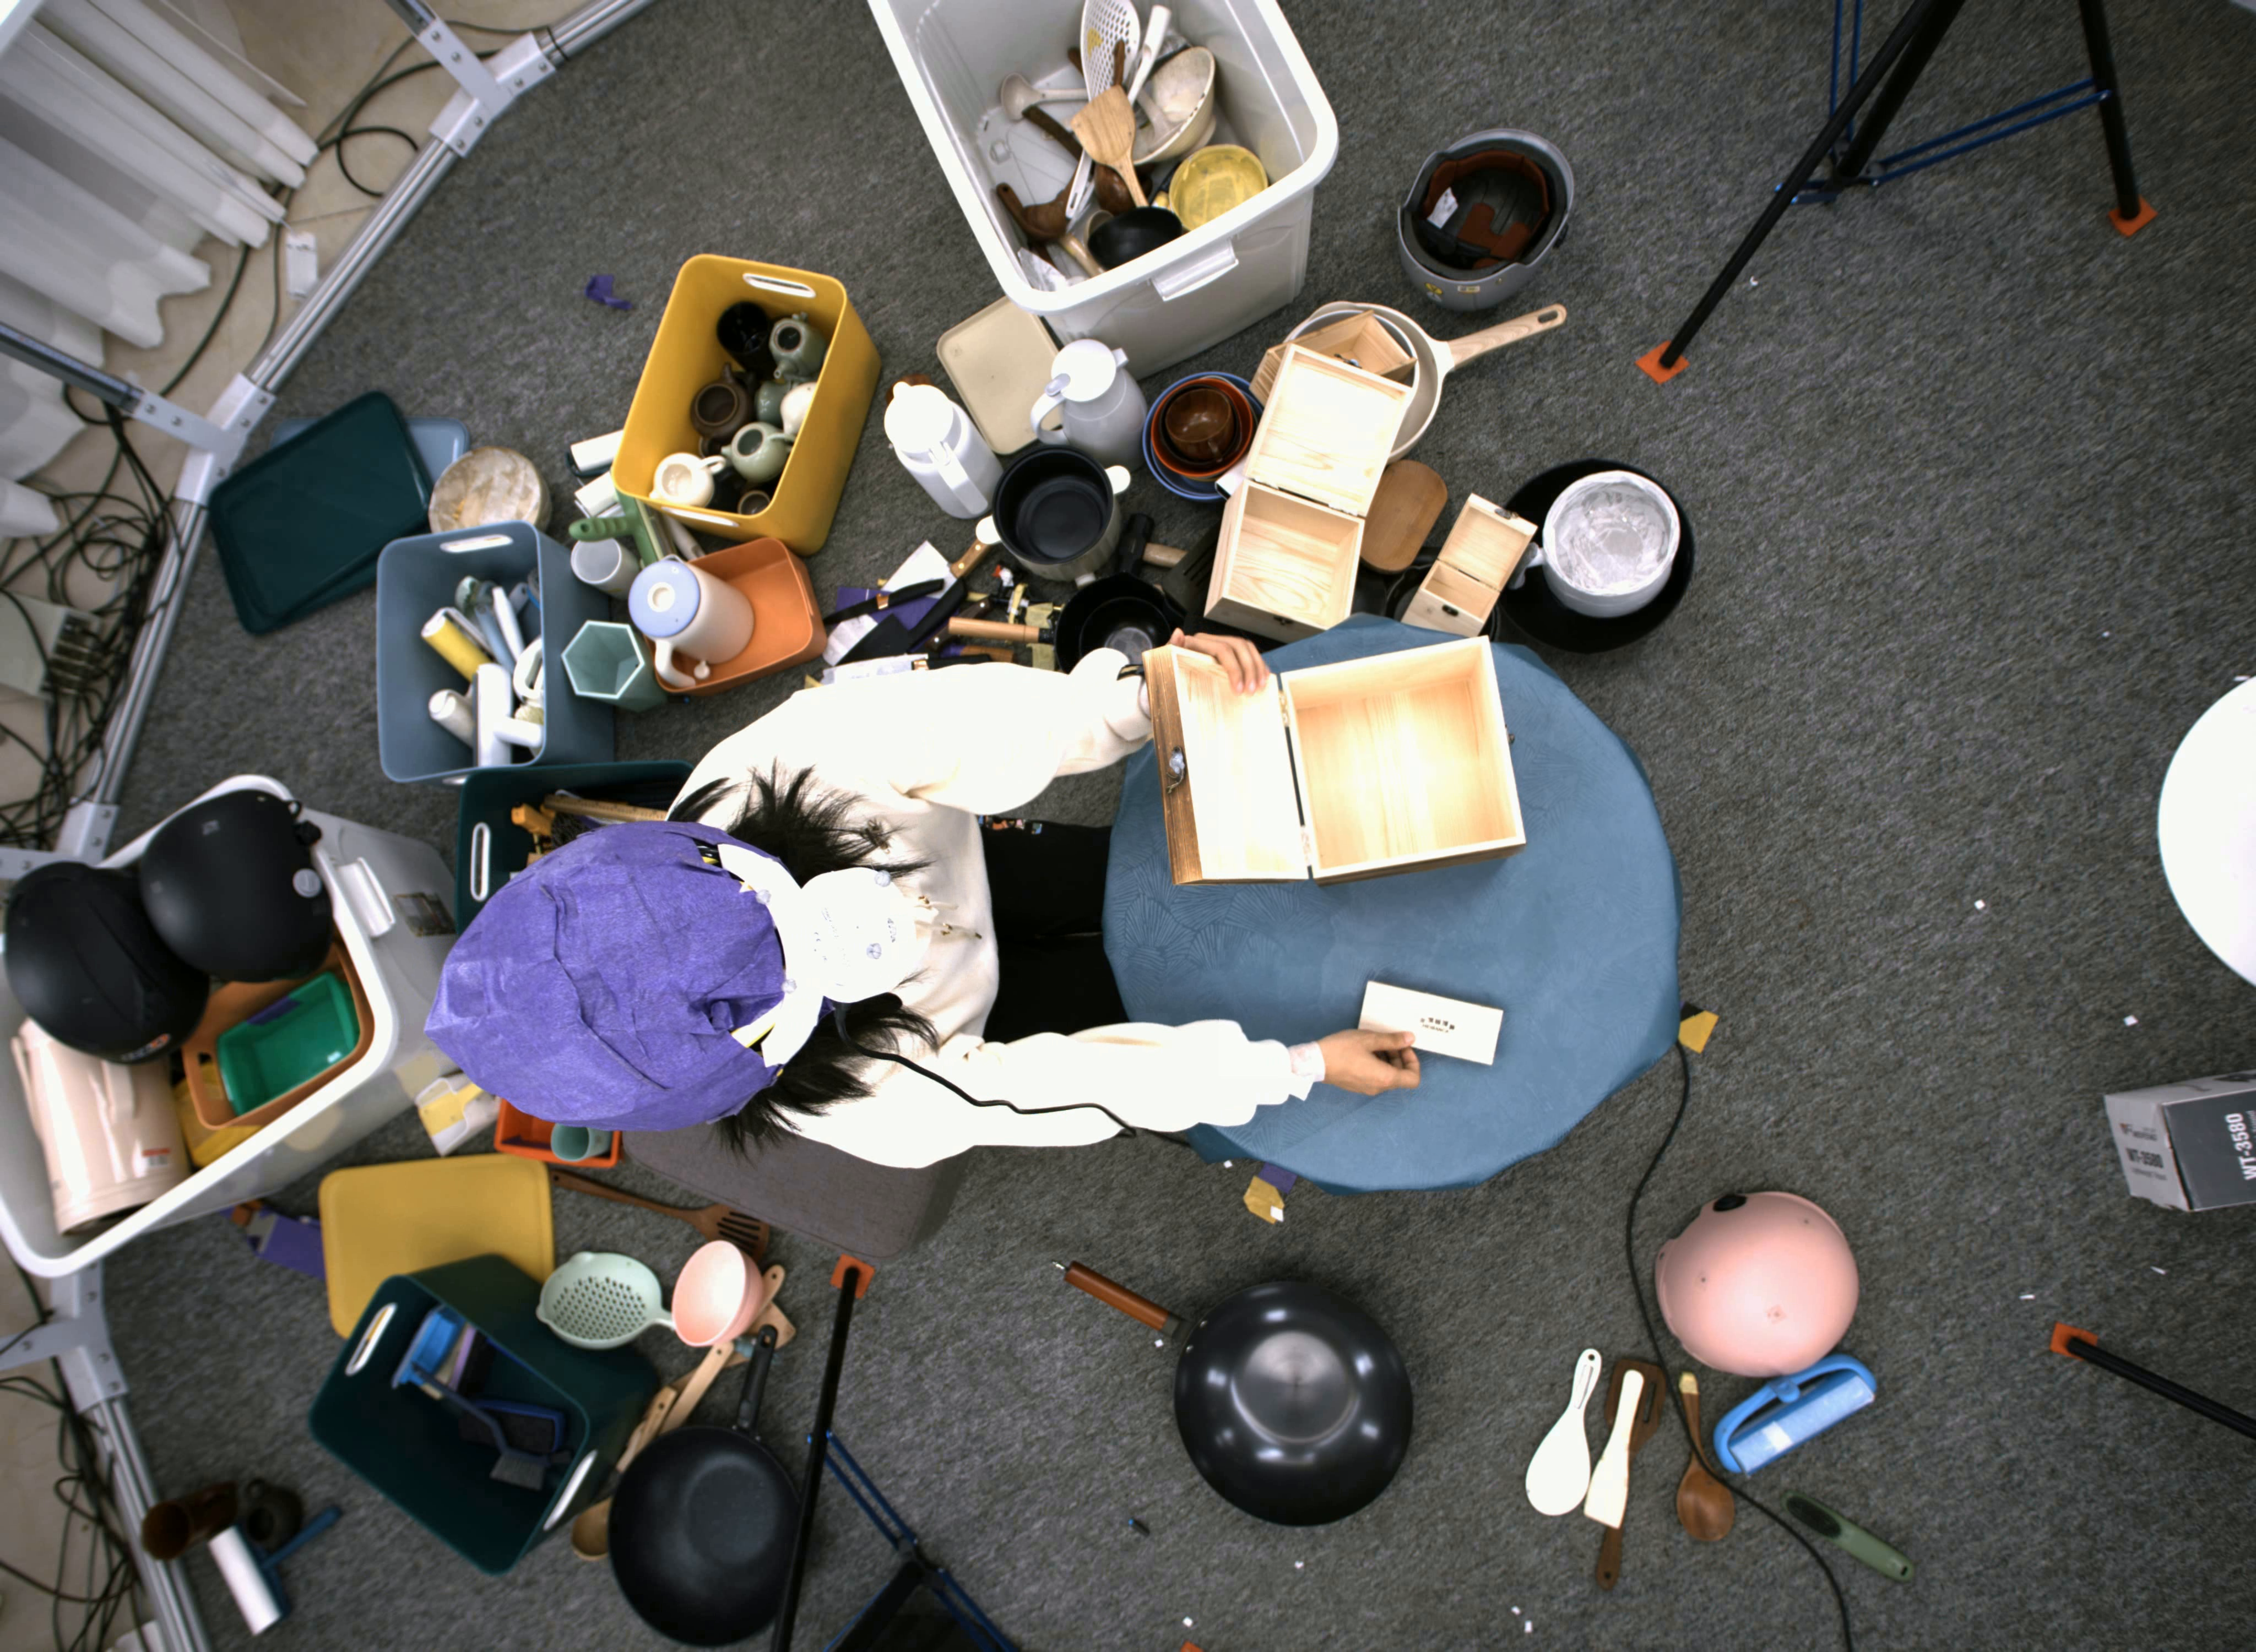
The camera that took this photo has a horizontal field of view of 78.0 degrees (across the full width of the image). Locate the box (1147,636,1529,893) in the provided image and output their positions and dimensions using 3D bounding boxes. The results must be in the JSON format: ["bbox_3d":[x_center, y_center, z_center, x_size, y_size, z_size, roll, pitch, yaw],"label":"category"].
[{"bbox_3d":[0.206,-0.057,1.295,0.324,0.375,0.207,-10,84,9],"label":"box"}]

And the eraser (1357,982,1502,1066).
[{"bbox_3d":[0.312,0.203,1.431,0.139,0.029,0.057,12,92,12],"label":"eraser"}]
